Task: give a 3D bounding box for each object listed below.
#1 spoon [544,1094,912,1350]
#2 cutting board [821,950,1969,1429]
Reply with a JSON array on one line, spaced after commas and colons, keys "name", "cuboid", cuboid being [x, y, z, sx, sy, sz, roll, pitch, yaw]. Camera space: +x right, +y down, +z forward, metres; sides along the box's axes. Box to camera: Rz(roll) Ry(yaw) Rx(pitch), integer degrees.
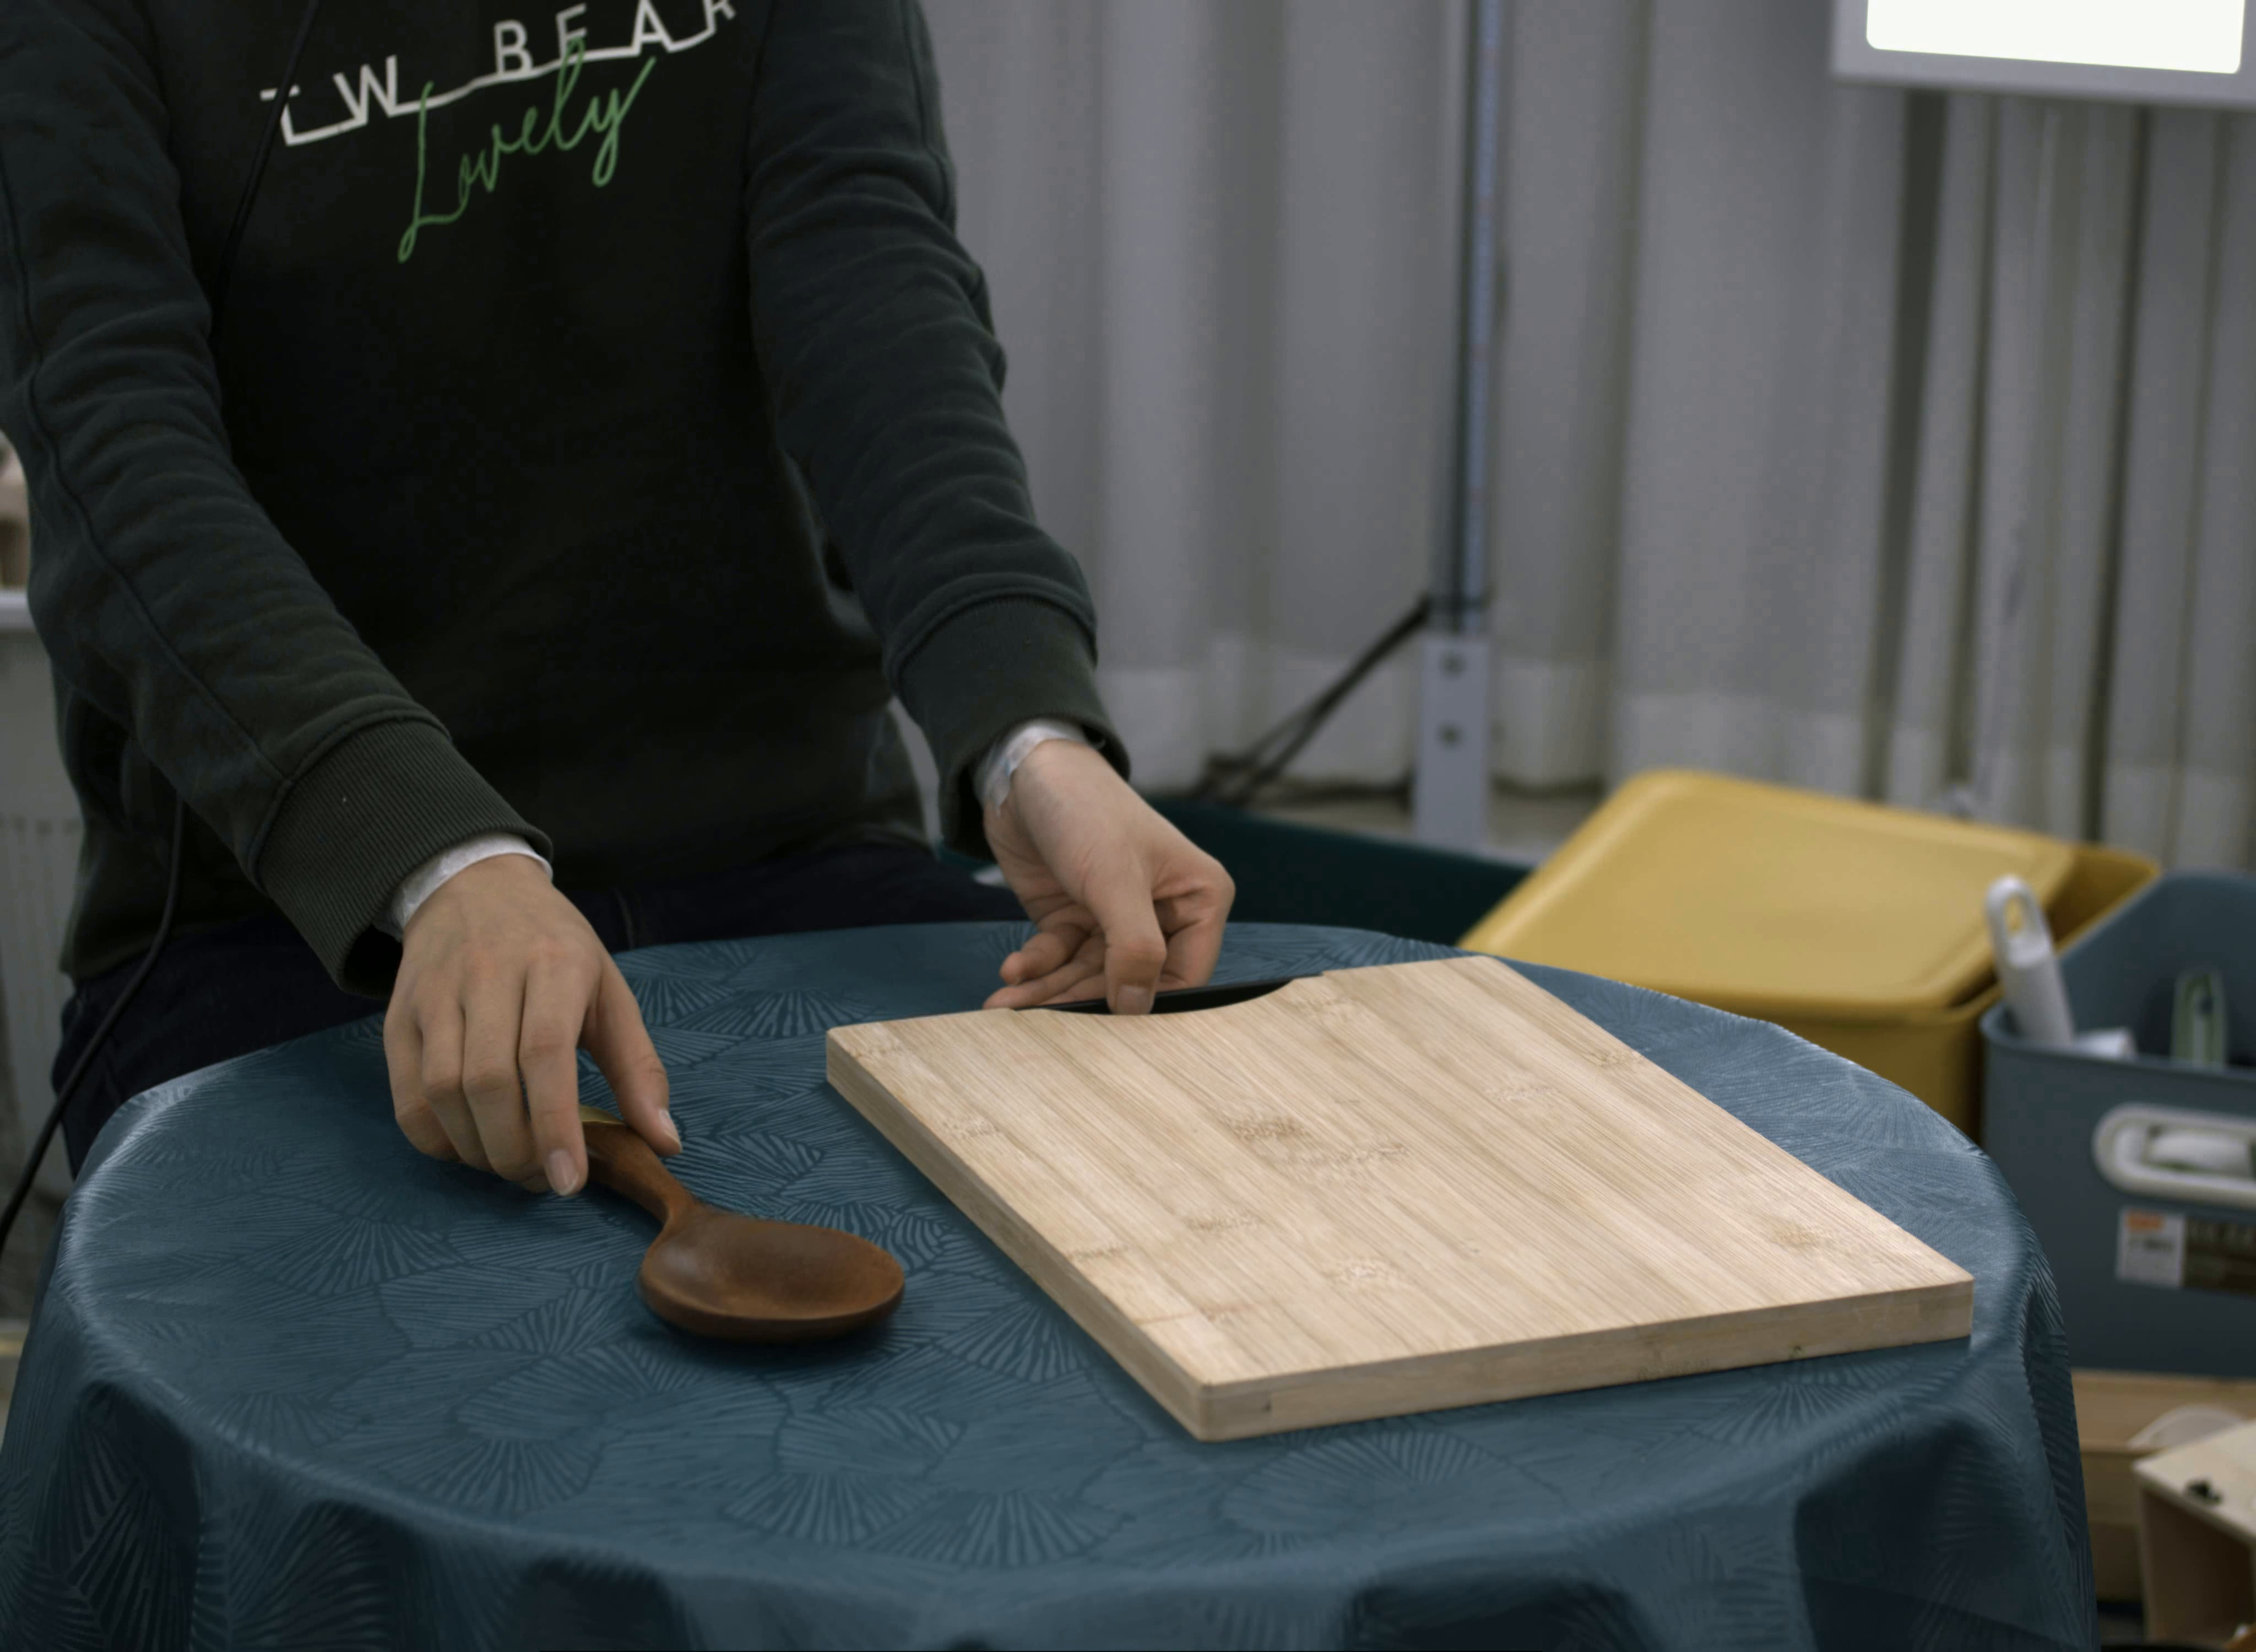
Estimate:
[{"name": "spoon", "cuboid": [-0.128, 0.118, 1.569, 0.076, 0.017, 0.213, -9, 19, -25]}, {"name": "cutting board", "cuboid": [0.070, 0.105, 1.625, 0.251, 0.024, 0.344, -5, 17, -22]}]
